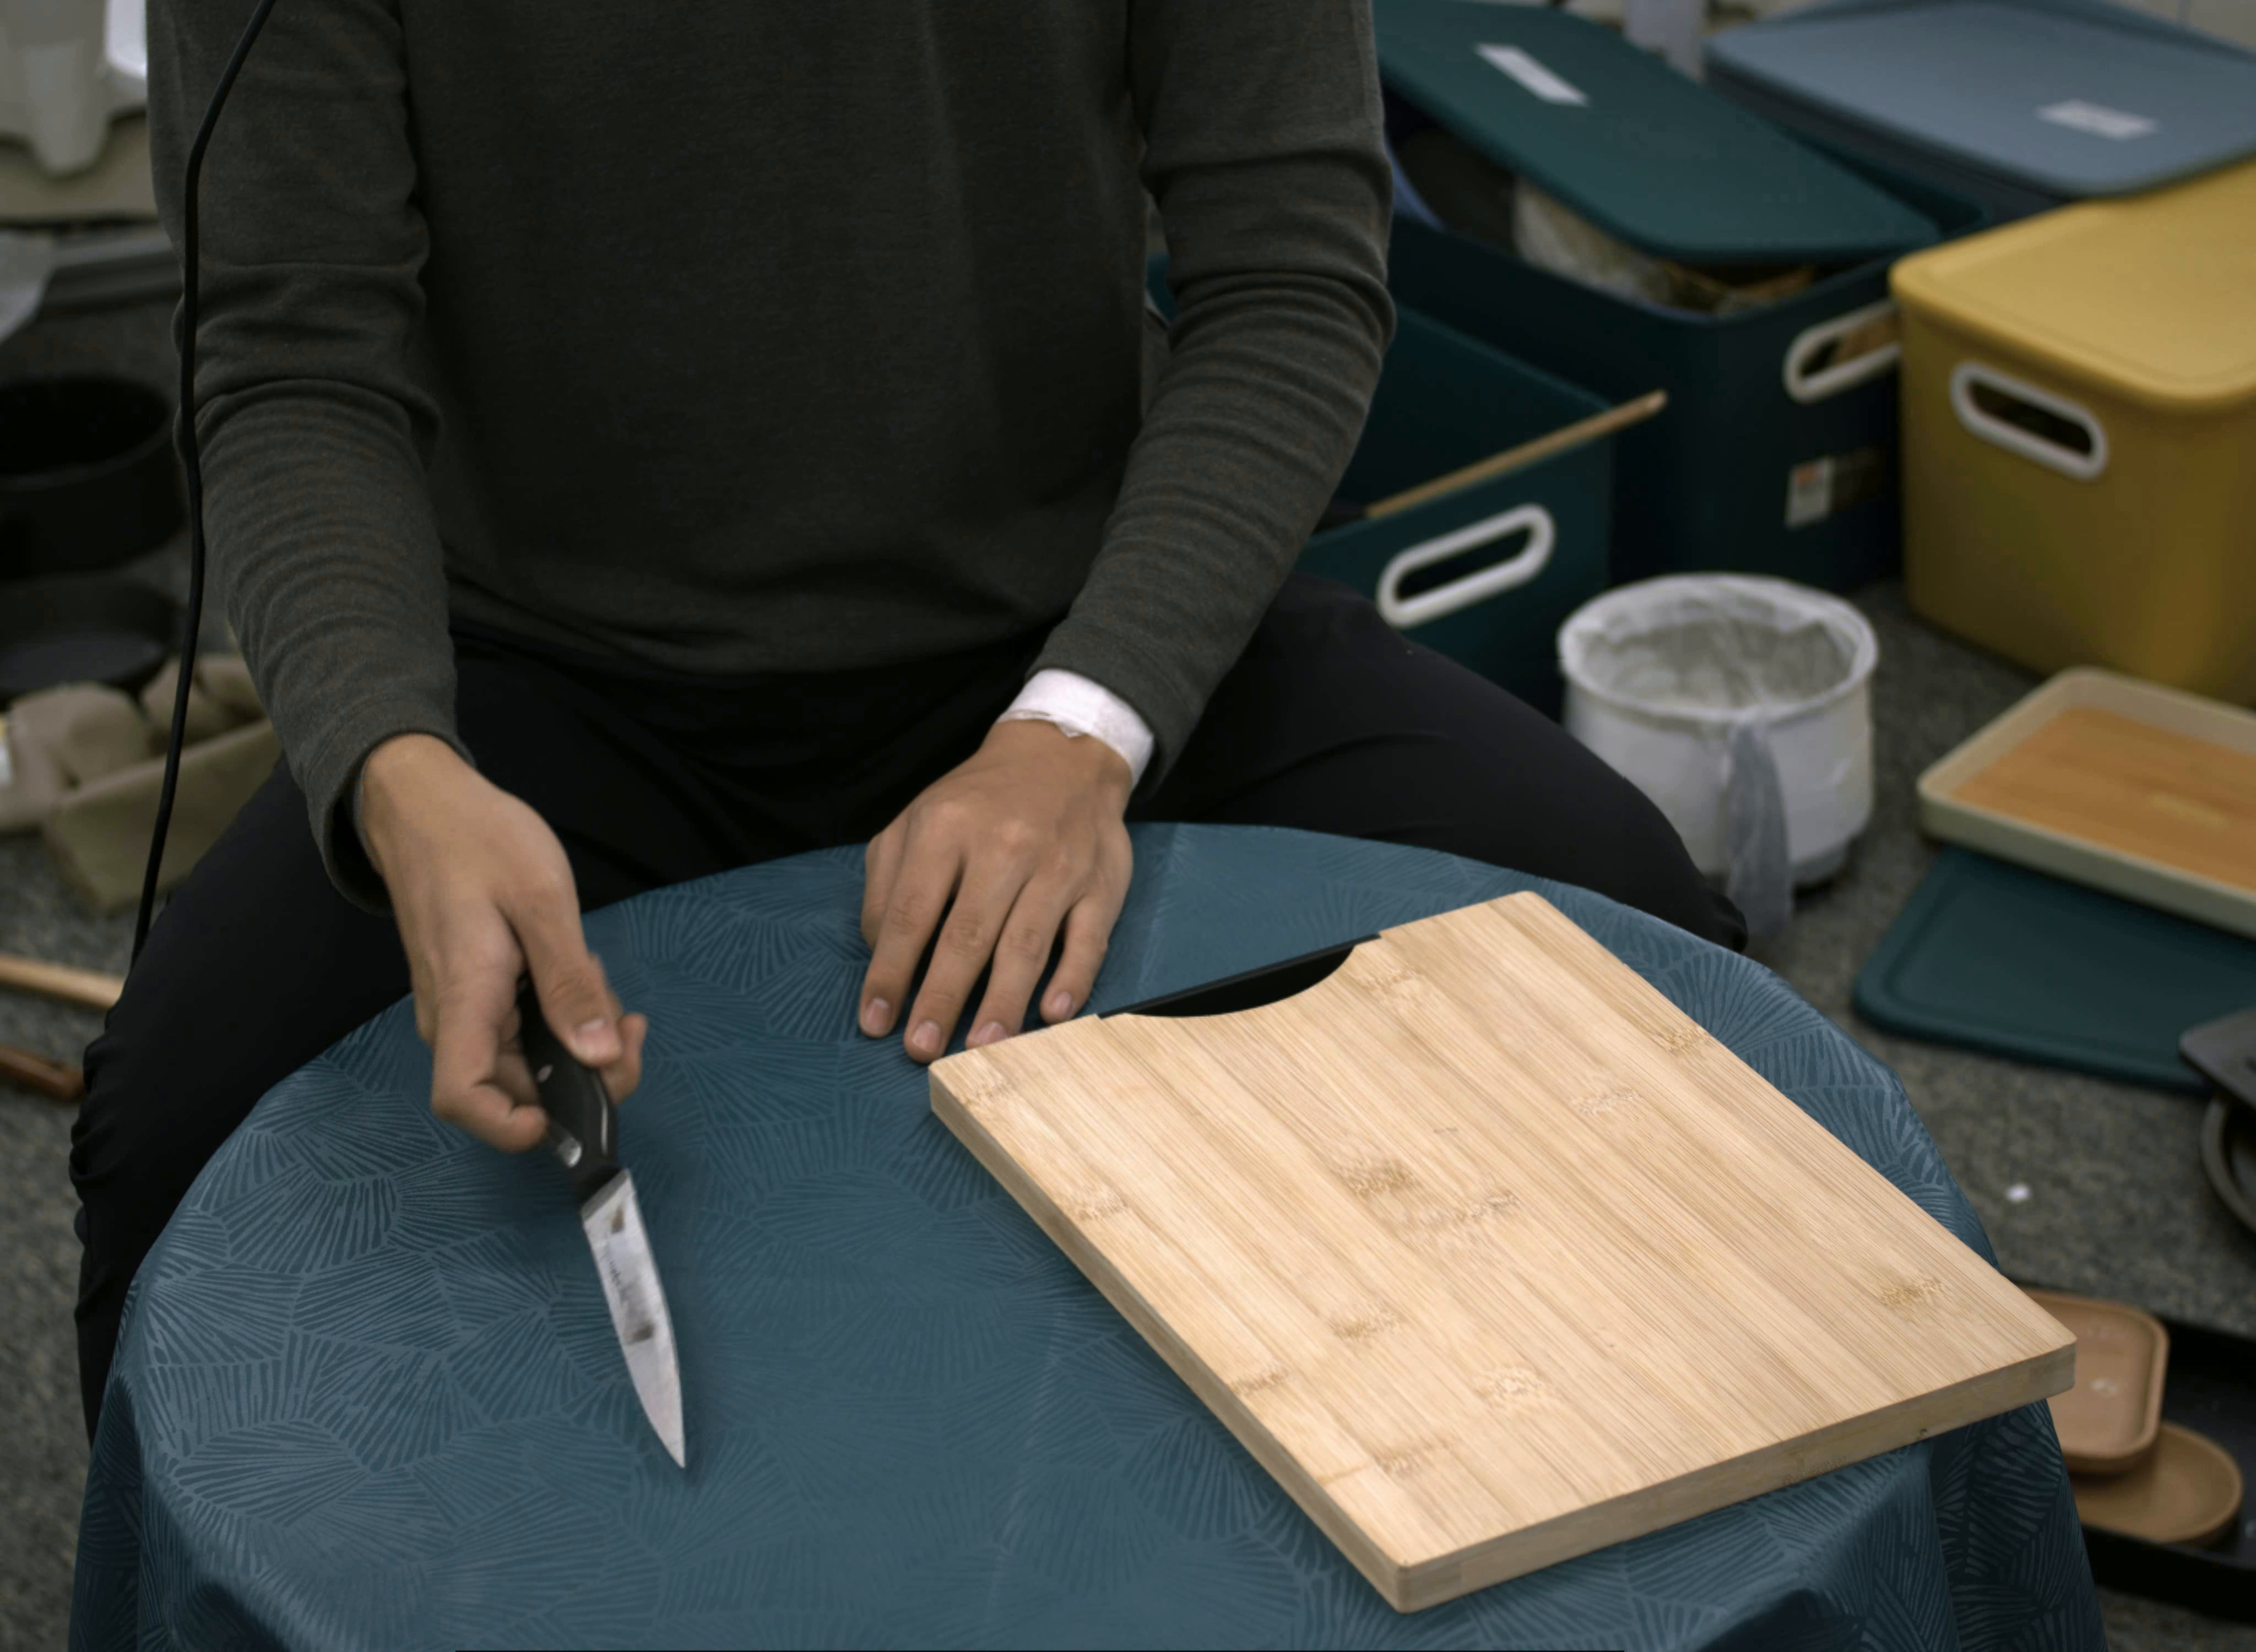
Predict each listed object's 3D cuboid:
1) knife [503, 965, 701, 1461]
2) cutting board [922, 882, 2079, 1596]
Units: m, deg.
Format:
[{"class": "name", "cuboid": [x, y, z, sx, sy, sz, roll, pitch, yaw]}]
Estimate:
[{"class": "knife", "cuboid": [-0.169, 0.125, 1.803, 0.024, 0.016, 0.241, -42, 39, 13]}, {"class": "cutting board", "cuboid": [0.111, 0.125, 1.827, 0.252, 0.023, 0.350, -15, 30, -23]}]
